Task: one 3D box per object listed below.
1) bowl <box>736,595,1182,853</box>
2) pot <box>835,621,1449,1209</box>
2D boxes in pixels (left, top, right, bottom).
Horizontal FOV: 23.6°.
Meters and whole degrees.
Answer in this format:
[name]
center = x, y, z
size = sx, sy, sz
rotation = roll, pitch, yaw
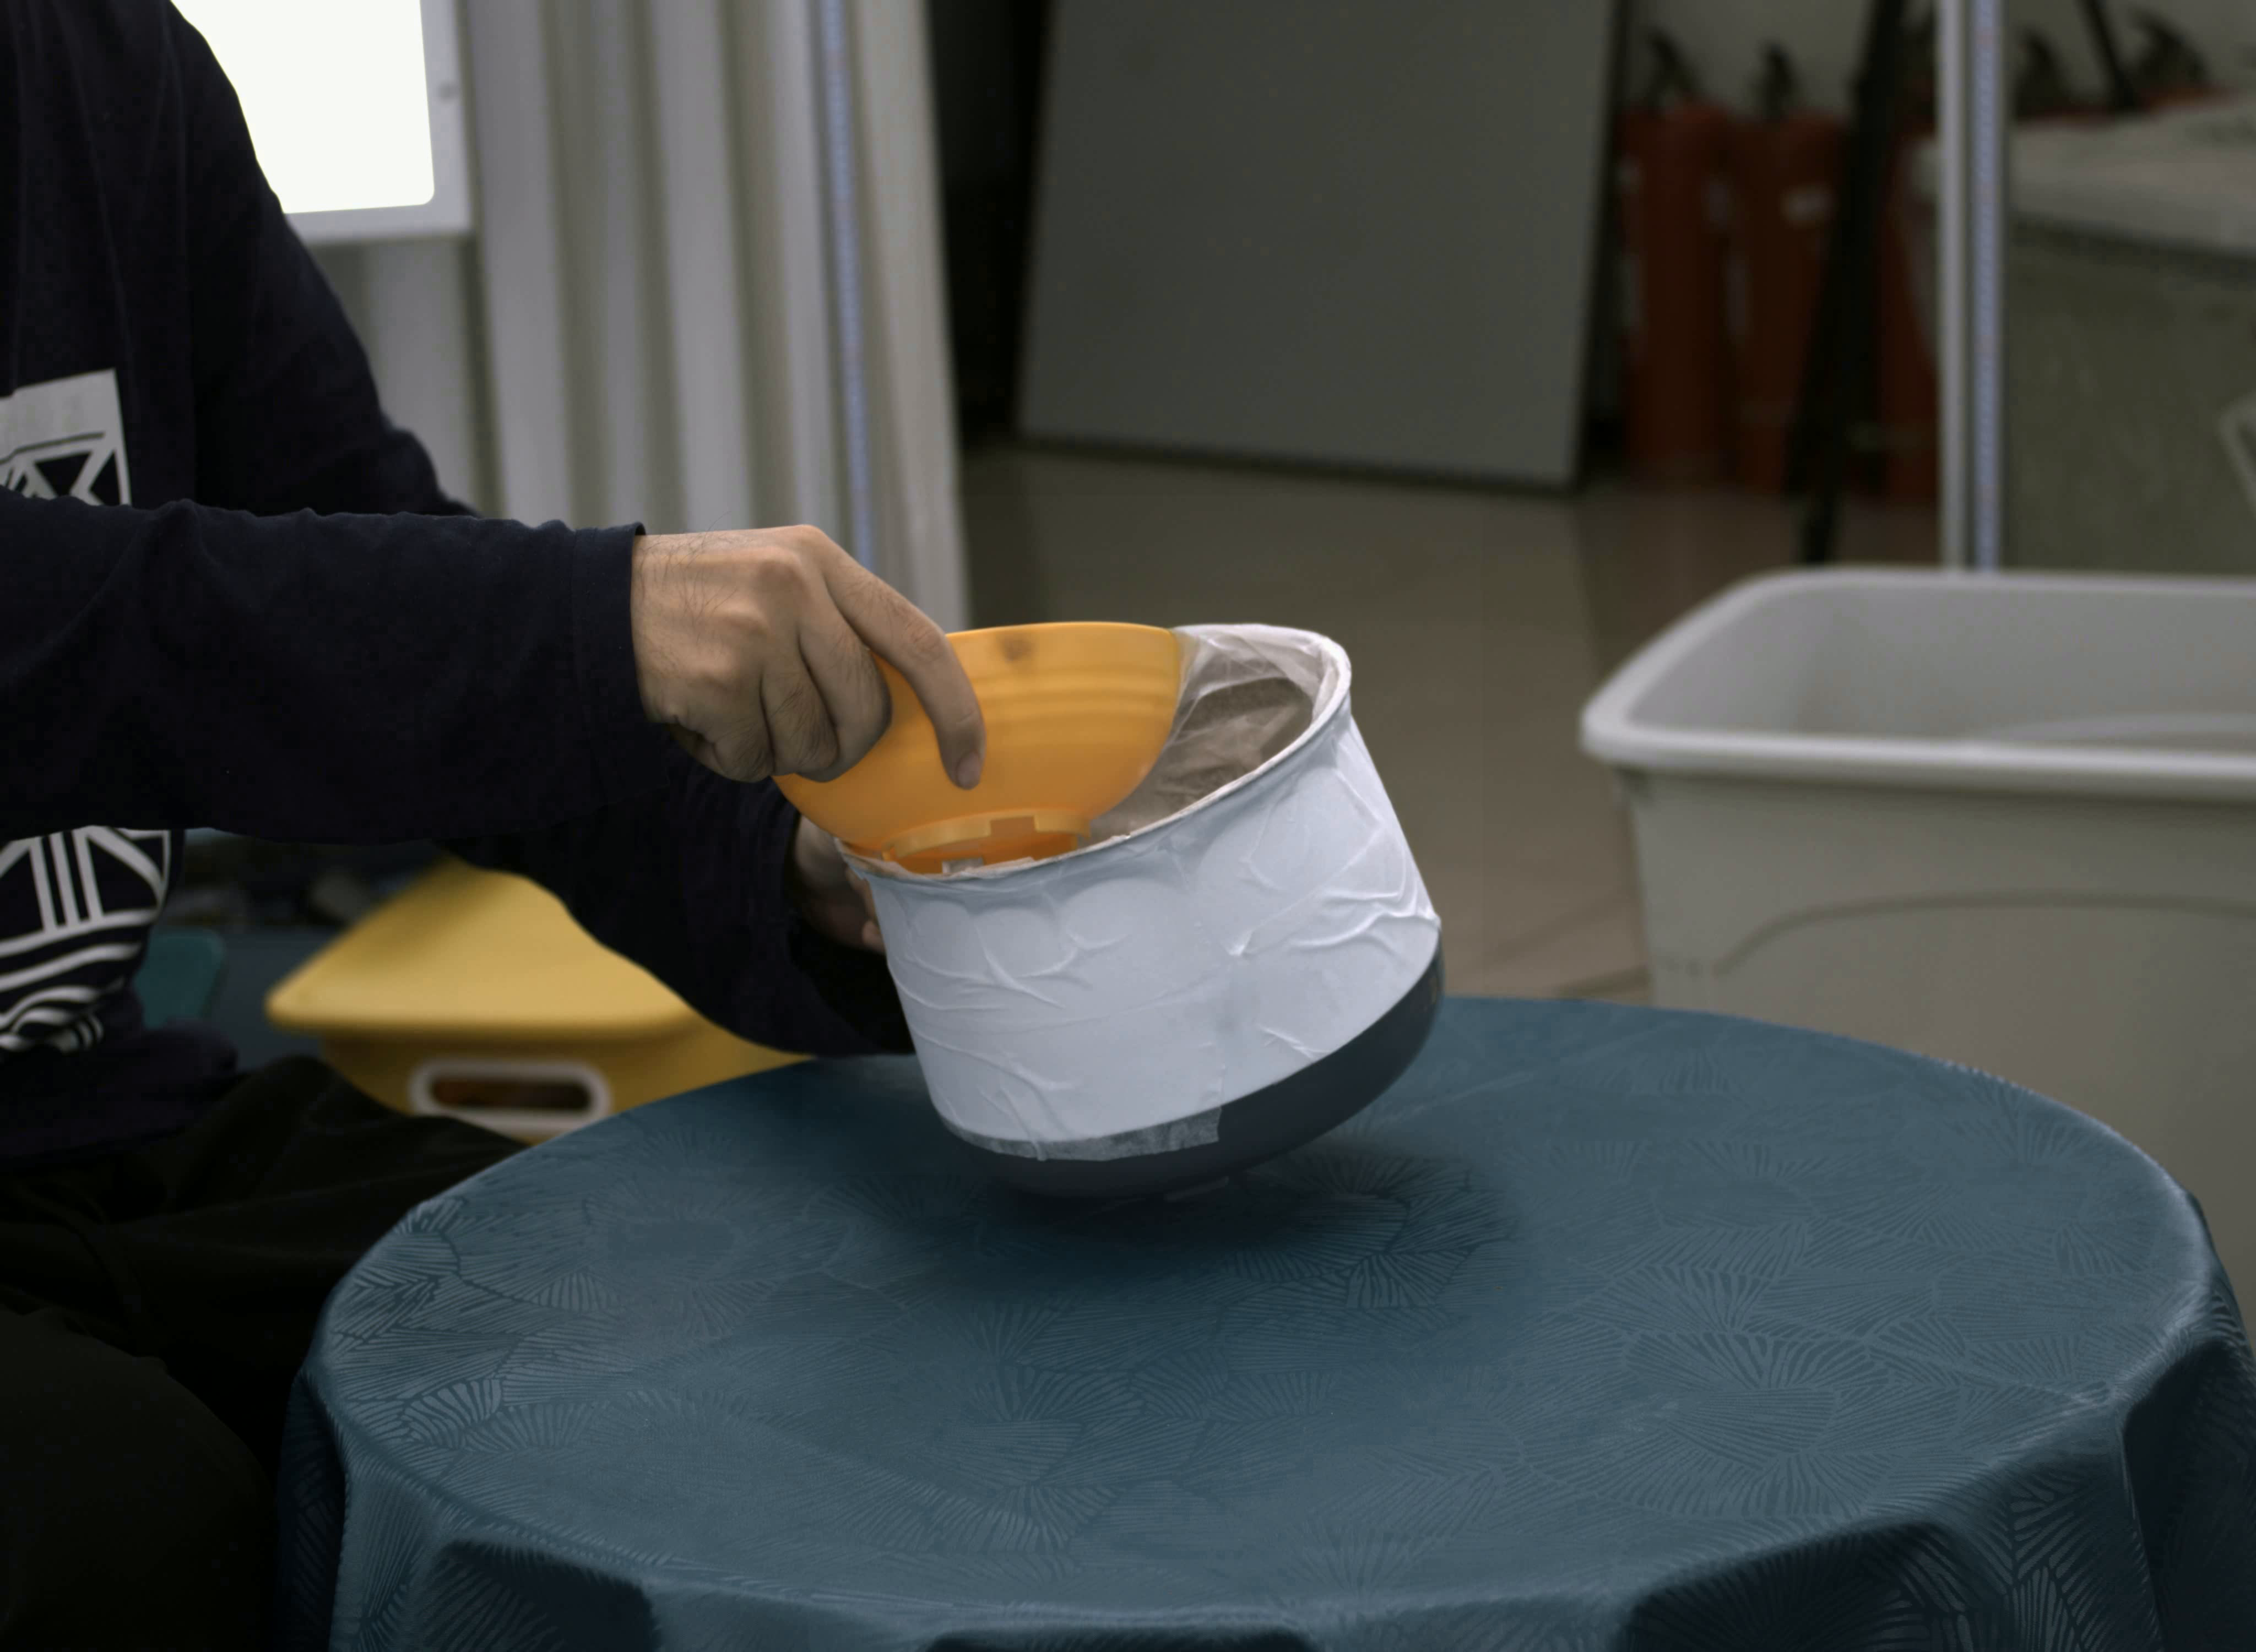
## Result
[bowl]
center = -0.051, -0.027, 1.708
size = 0.143, 0.061, 0.145
rotation = -4, -11, -2
[pot]
center = -0.008, 0.030, 1.775
size = 0.176, 0.137, 0.236
rotation = -32, 21, -30
